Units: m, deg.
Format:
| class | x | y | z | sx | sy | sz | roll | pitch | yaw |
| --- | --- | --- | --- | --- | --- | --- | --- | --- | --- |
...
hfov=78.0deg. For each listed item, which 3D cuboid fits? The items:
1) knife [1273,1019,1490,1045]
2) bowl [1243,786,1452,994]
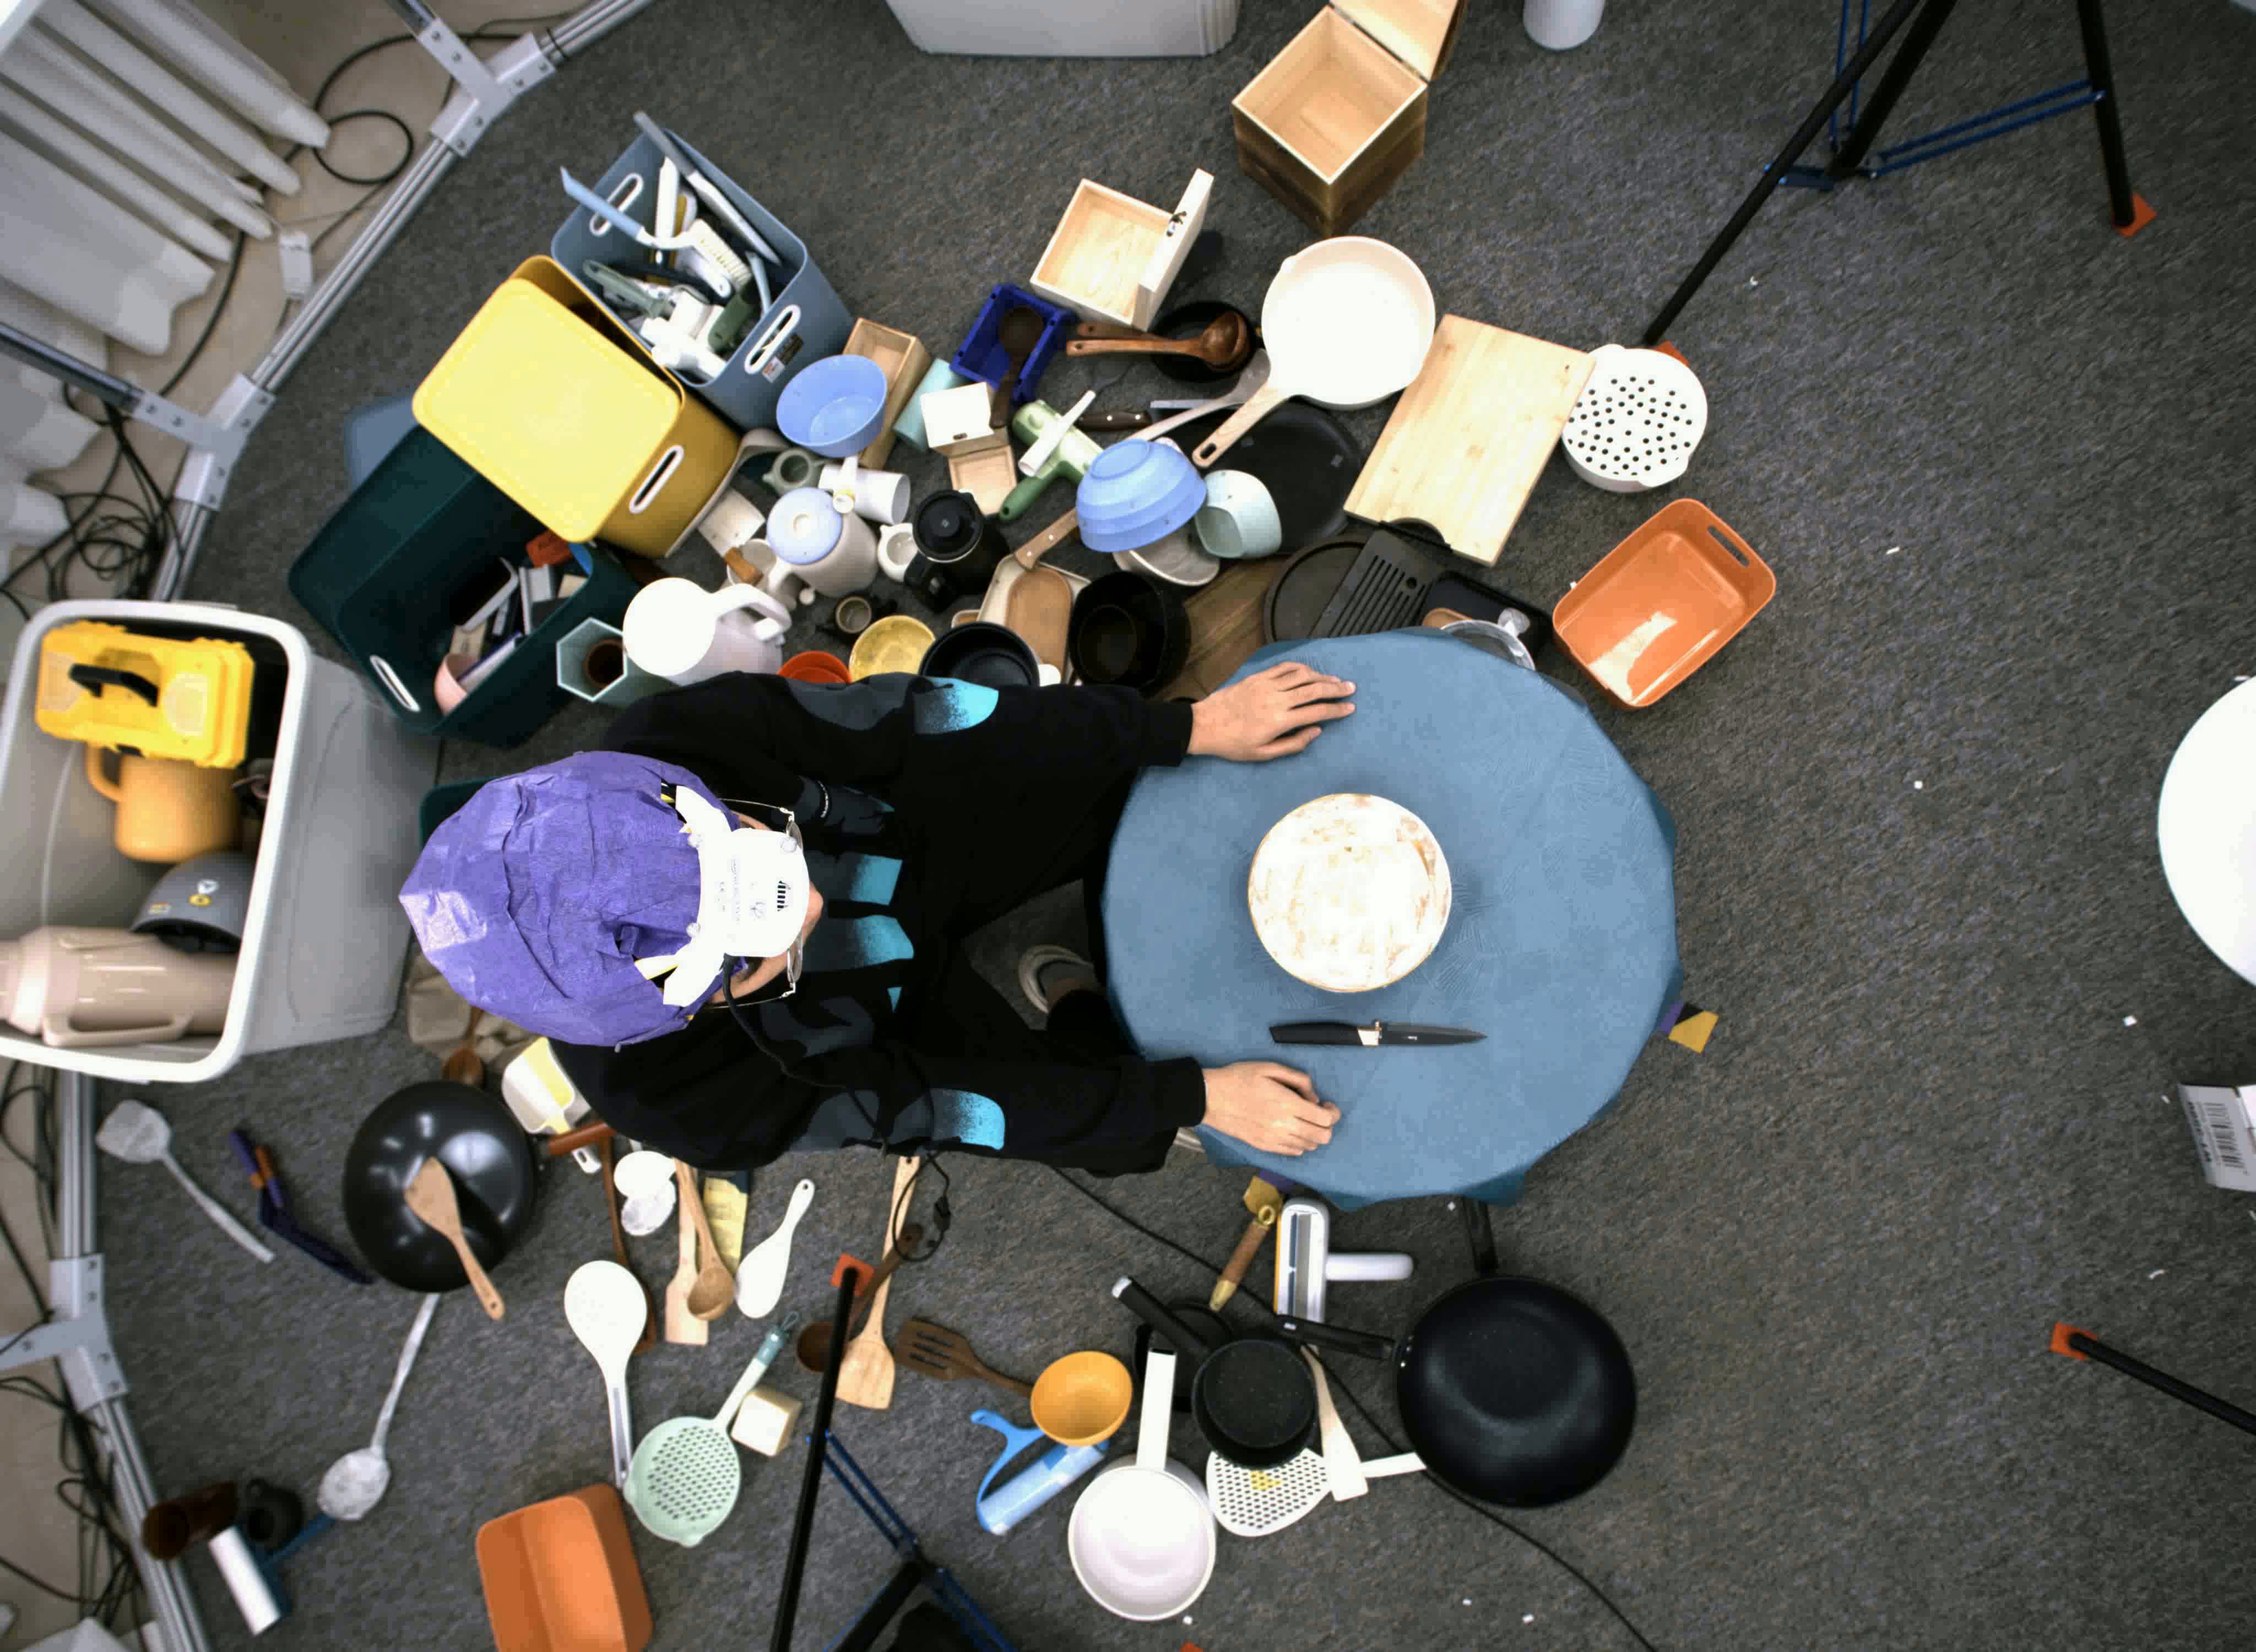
| class | x | y | z | sx | sy | sz | roll | pitch | yaw |
| --- | --- | --- | --- | --- | --- | --- | --- | --- | --- |
| knife | 0.265 | 0.214 | 1.448 | 0.226 | 0.017 | 0.026 | -3 | 78 | 9 |
| bowl | 0.223 | 0.067 | 1.421 | 0.215 | 0.094 | 0.214 | -1 | 88 | 10 |
